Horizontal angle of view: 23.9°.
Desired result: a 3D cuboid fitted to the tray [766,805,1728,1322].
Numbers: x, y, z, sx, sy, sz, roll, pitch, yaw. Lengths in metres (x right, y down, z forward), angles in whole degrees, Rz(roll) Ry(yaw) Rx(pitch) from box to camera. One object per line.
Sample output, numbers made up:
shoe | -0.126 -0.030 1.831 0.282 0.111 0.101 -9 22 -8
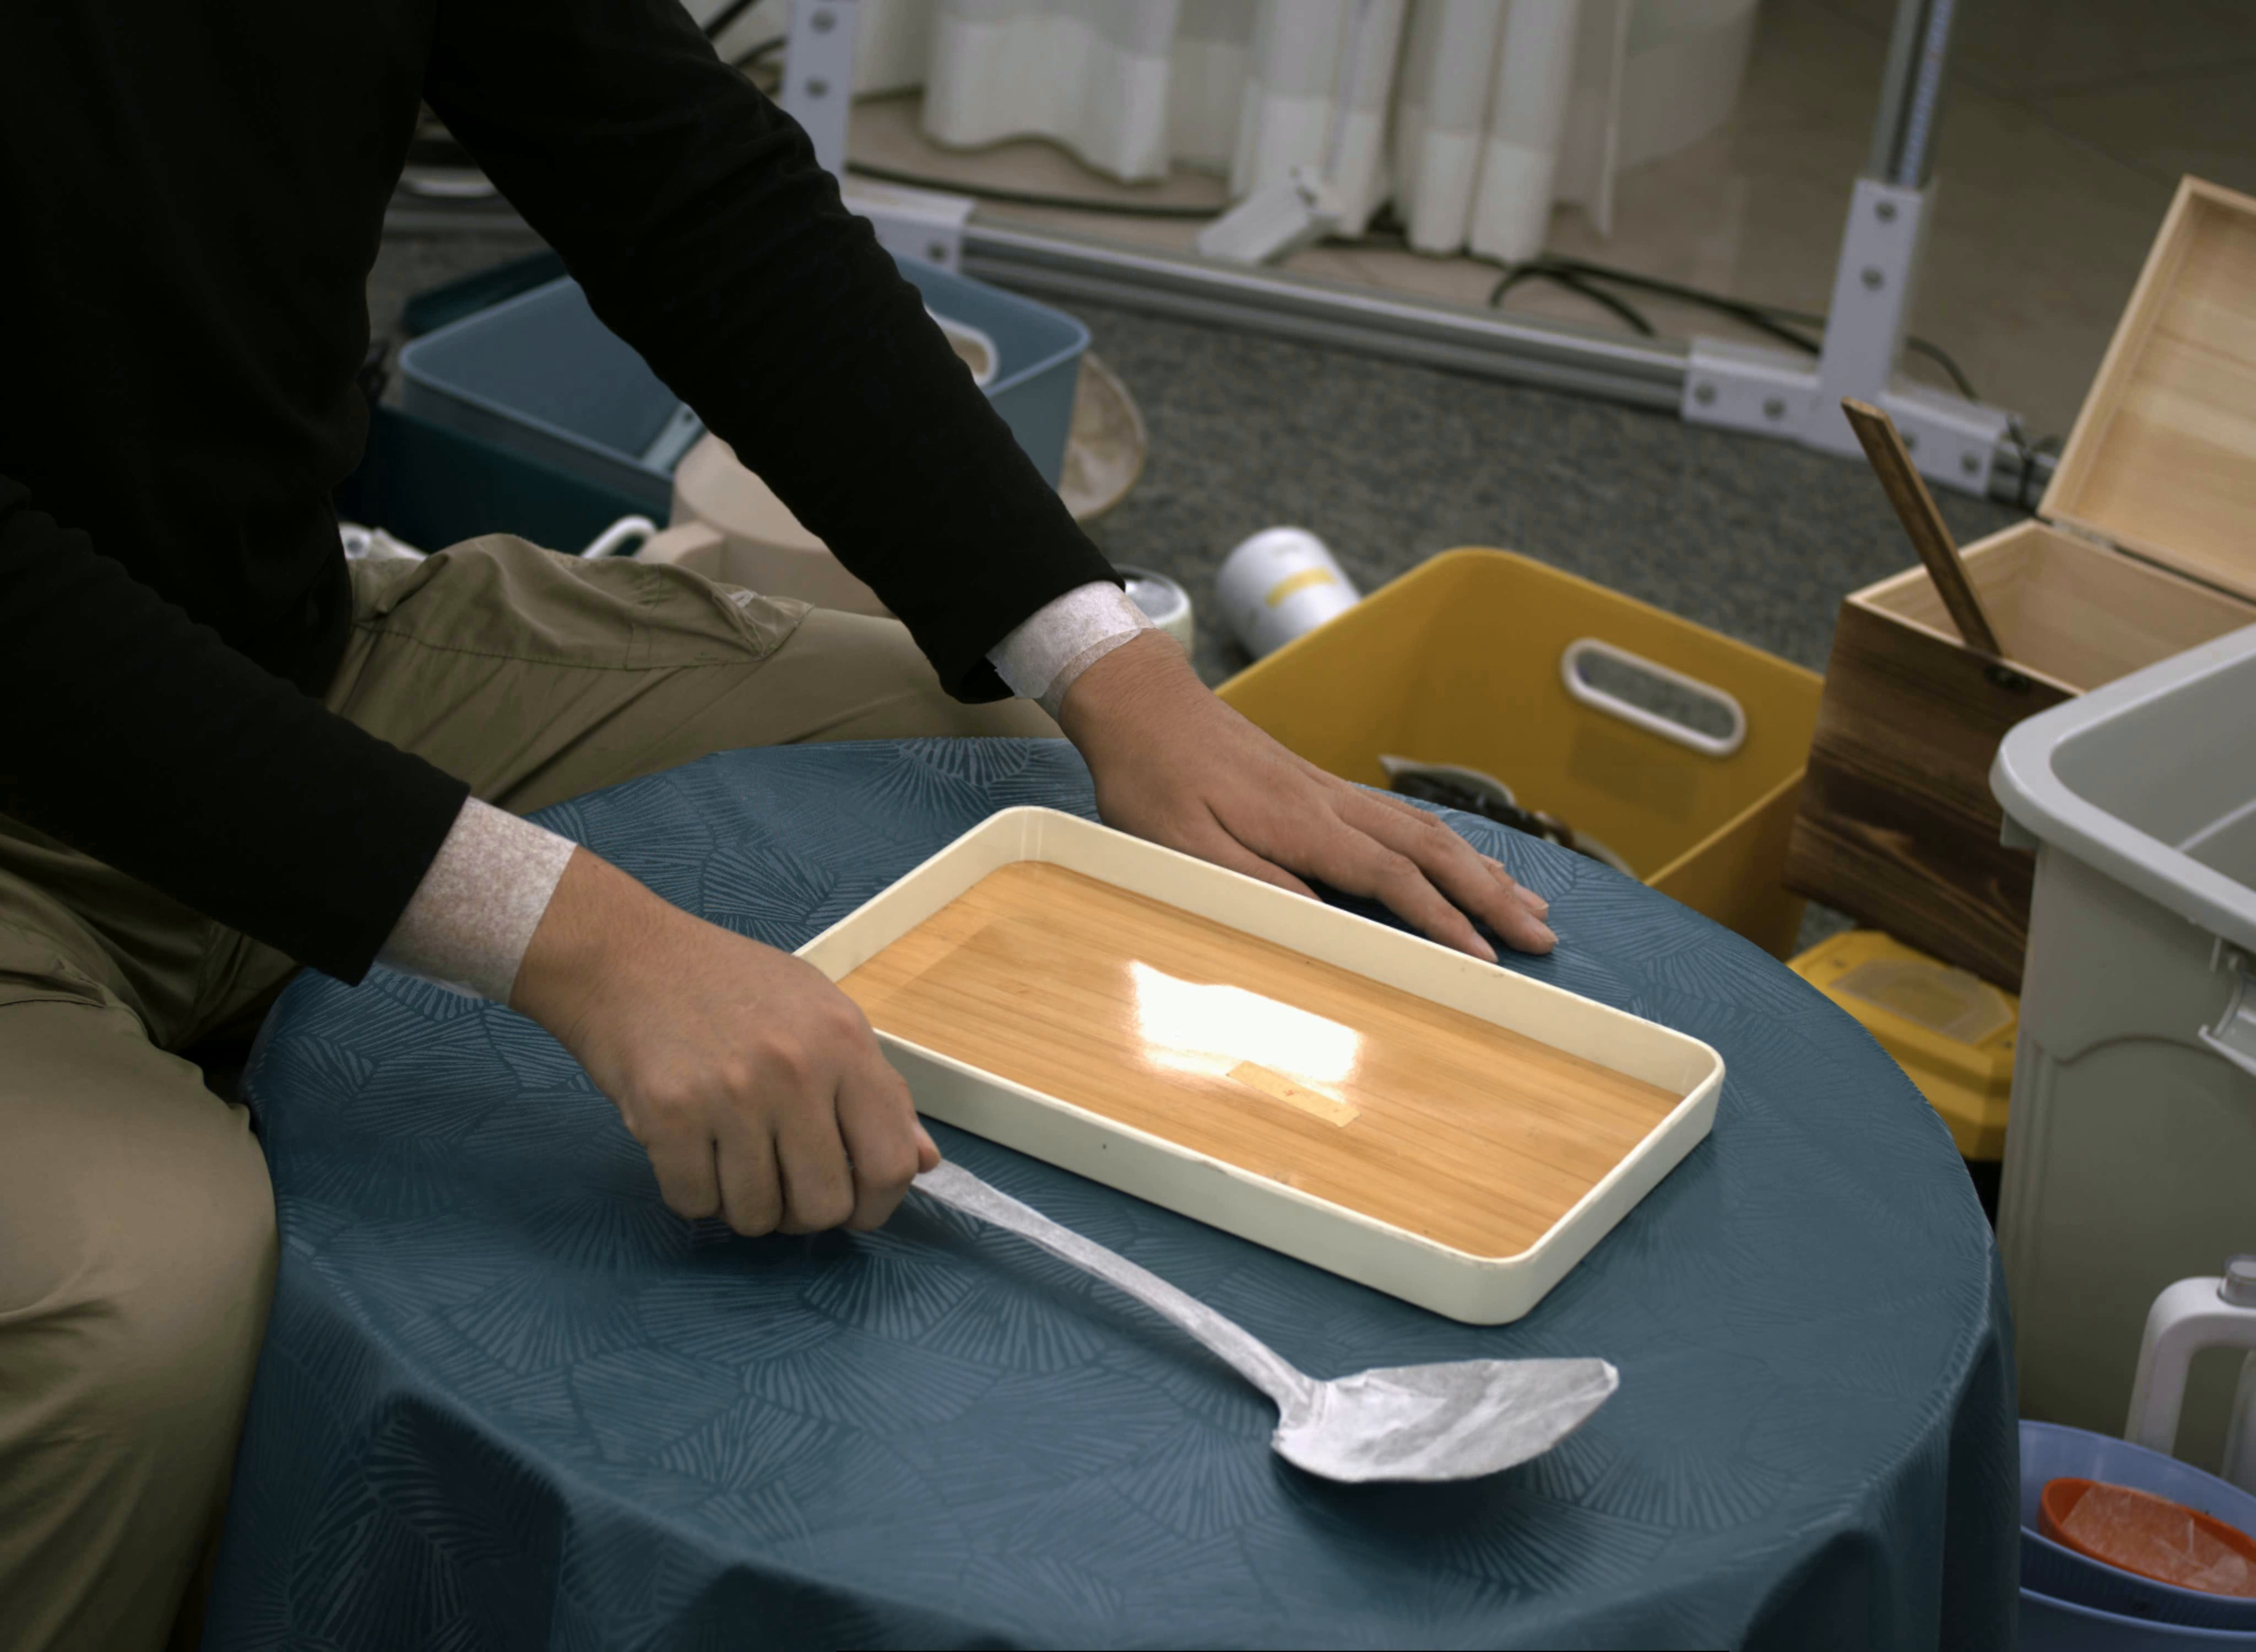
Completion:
tray | 0.042 0.079 1.869 0.301 0.027 0.191 20 30 24

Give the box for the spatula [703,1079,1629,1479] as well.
spatula | -0.007 0.138 1.729 0.367 0.044 0.098 24 32 31
